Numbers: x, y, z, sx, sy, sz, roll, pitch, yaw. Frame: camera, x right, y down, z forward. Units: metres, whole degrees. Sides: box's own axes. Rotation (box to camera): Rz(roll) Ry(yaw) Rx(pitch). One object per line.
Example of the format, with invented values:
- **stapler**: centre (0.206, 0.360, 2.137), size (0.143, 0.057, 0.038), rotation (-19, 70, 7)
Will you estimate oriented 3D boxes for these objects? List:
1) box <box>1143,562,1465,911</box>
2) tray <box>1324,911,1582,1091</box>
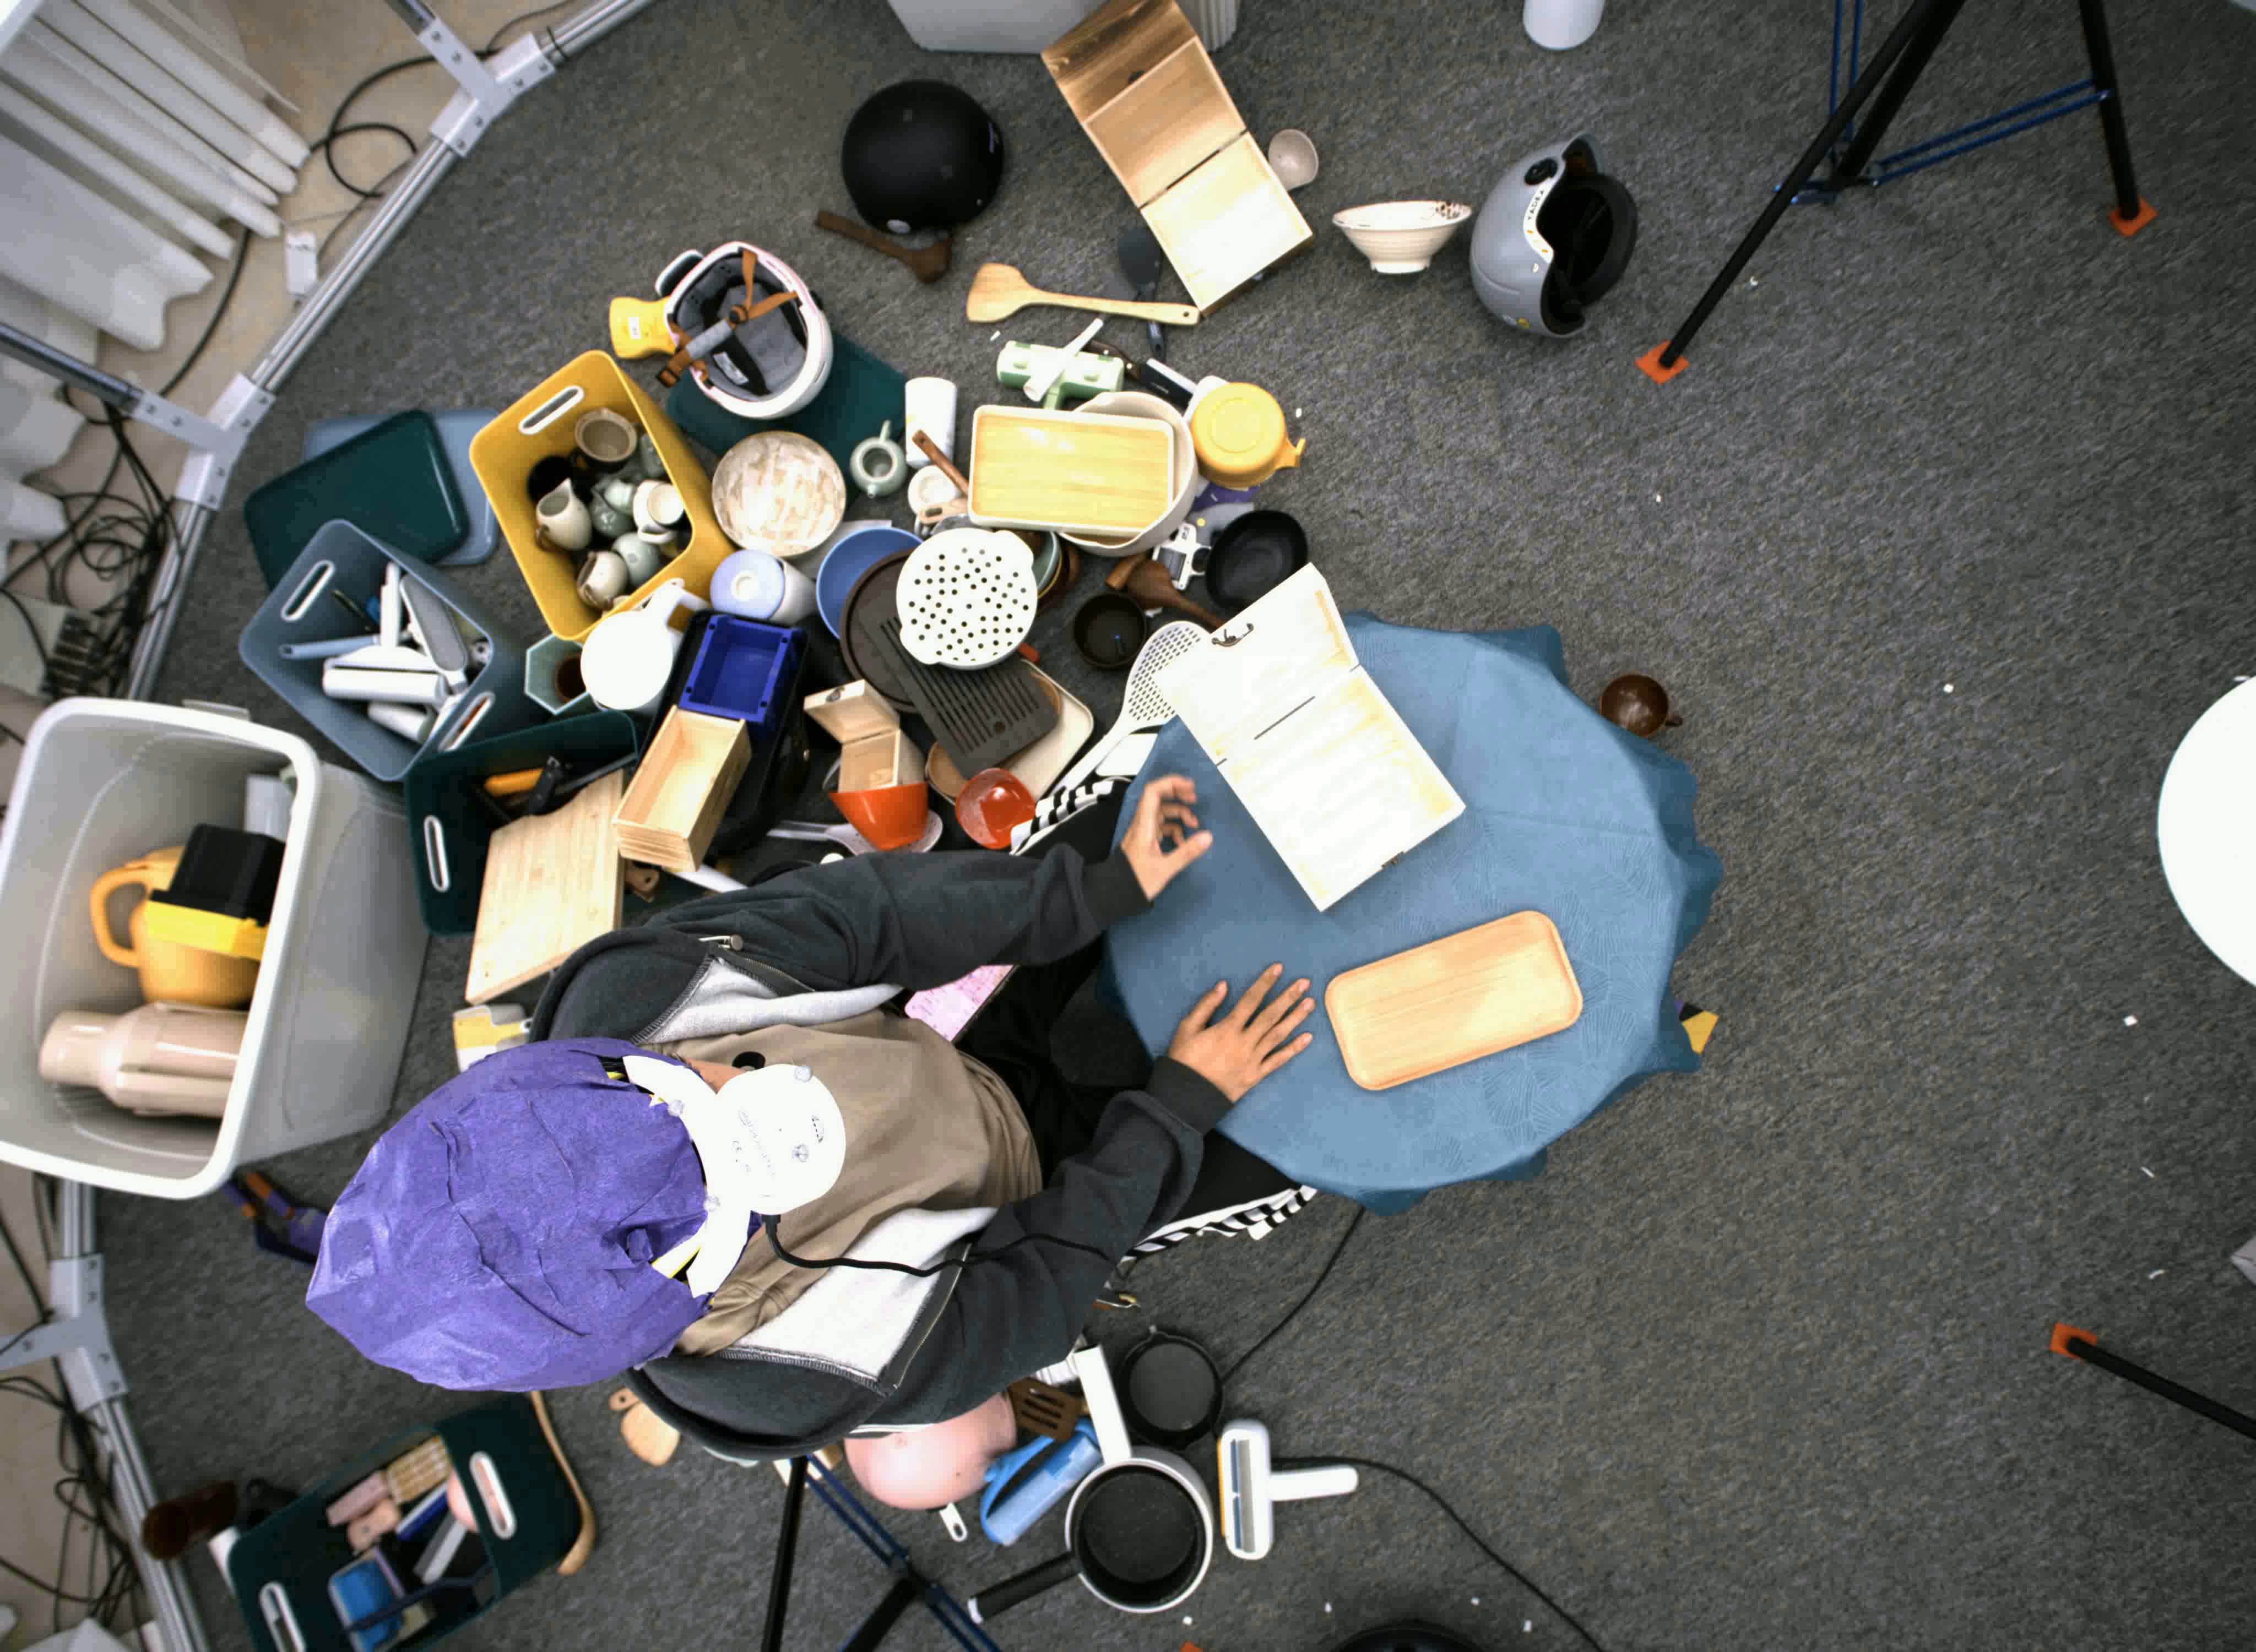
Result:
- **box**: centre (0.185, -0.074, 1.360), size (0.183, 0.253, 0.263), rotation (-37, 79, 8)
- **tray**: centre (0.335, 0.180, 1.432), size (0.252, 0.023, 0.129), rotation (-20, 81, 9)
